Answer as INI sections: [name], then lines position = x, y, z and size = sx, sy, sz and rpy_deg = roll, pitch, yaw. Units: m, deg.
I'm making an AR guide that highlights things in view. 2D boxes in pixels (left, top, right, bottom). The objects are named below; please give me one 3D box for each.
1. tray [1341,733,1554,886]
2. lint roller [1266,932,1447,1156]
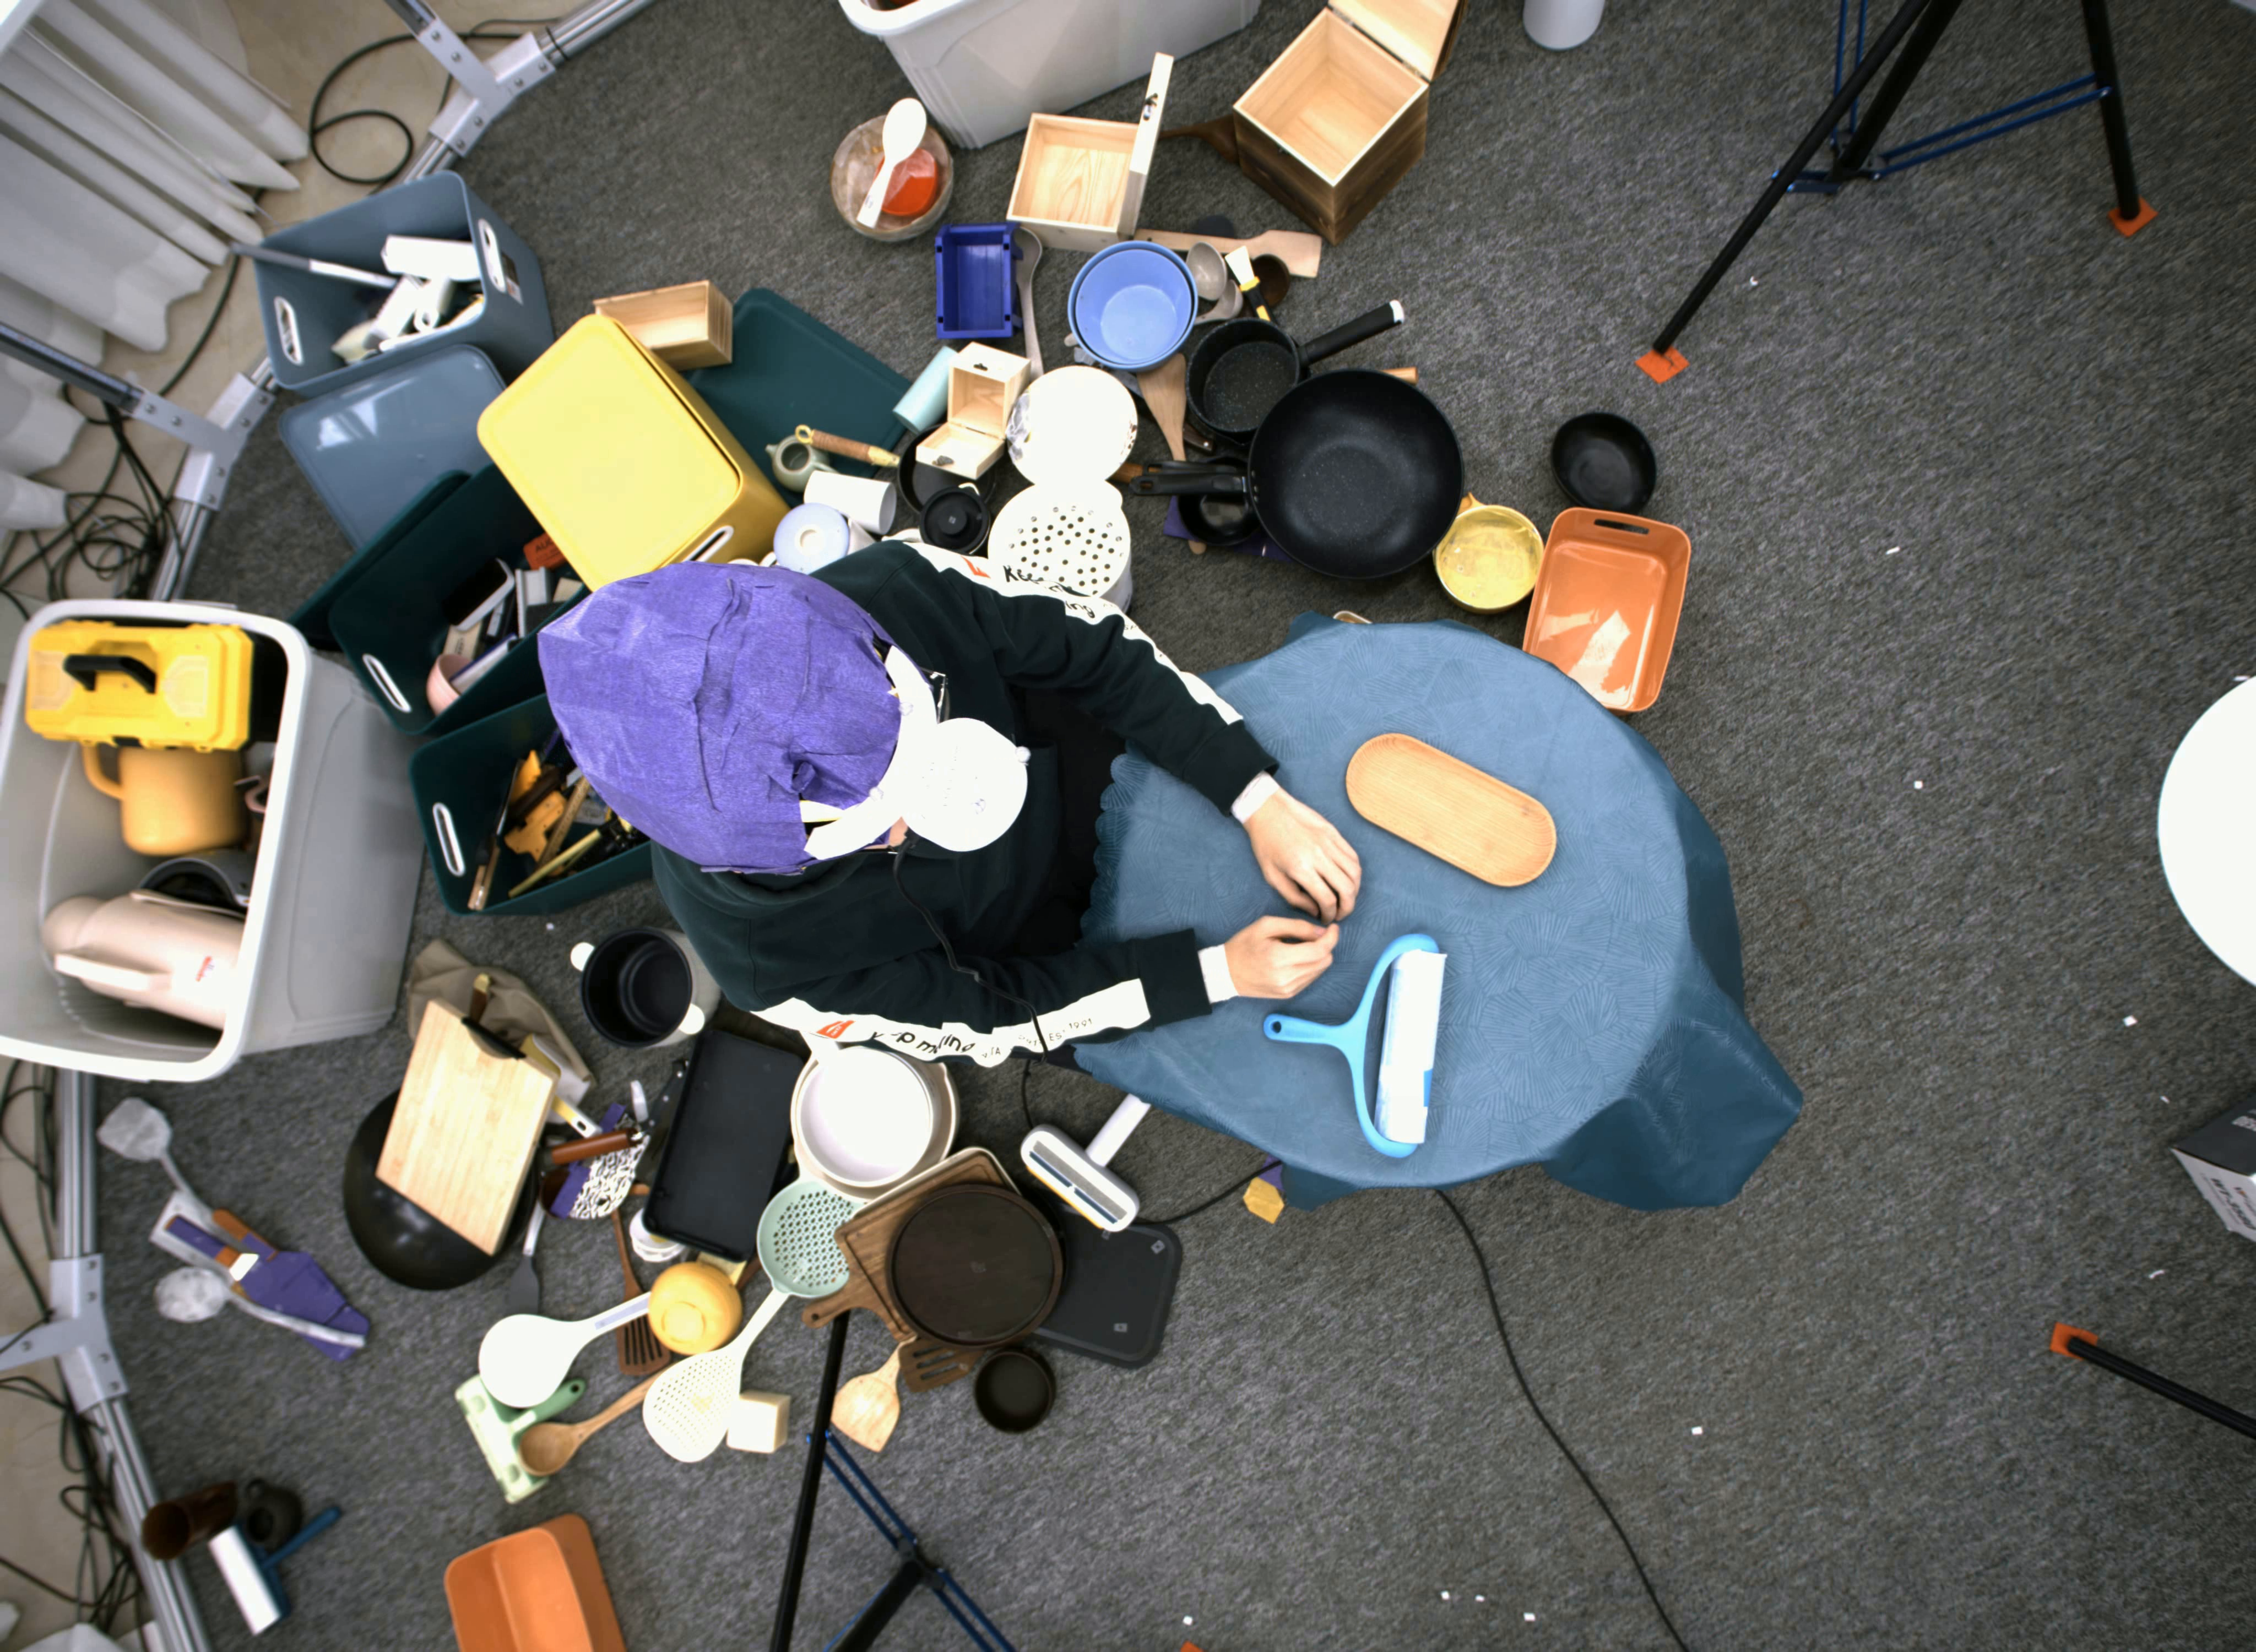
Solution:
[tray]
position = 0.333, -0.019, 1.440
size = 0.231, 0.020, 0.101
rpy_deg = 27, 91, 12
[lint roller]
position = 0.231, 0.218, 1.426
size = 0.181, 0.068, 0.228
rpy_deg = 4, 89, 9
